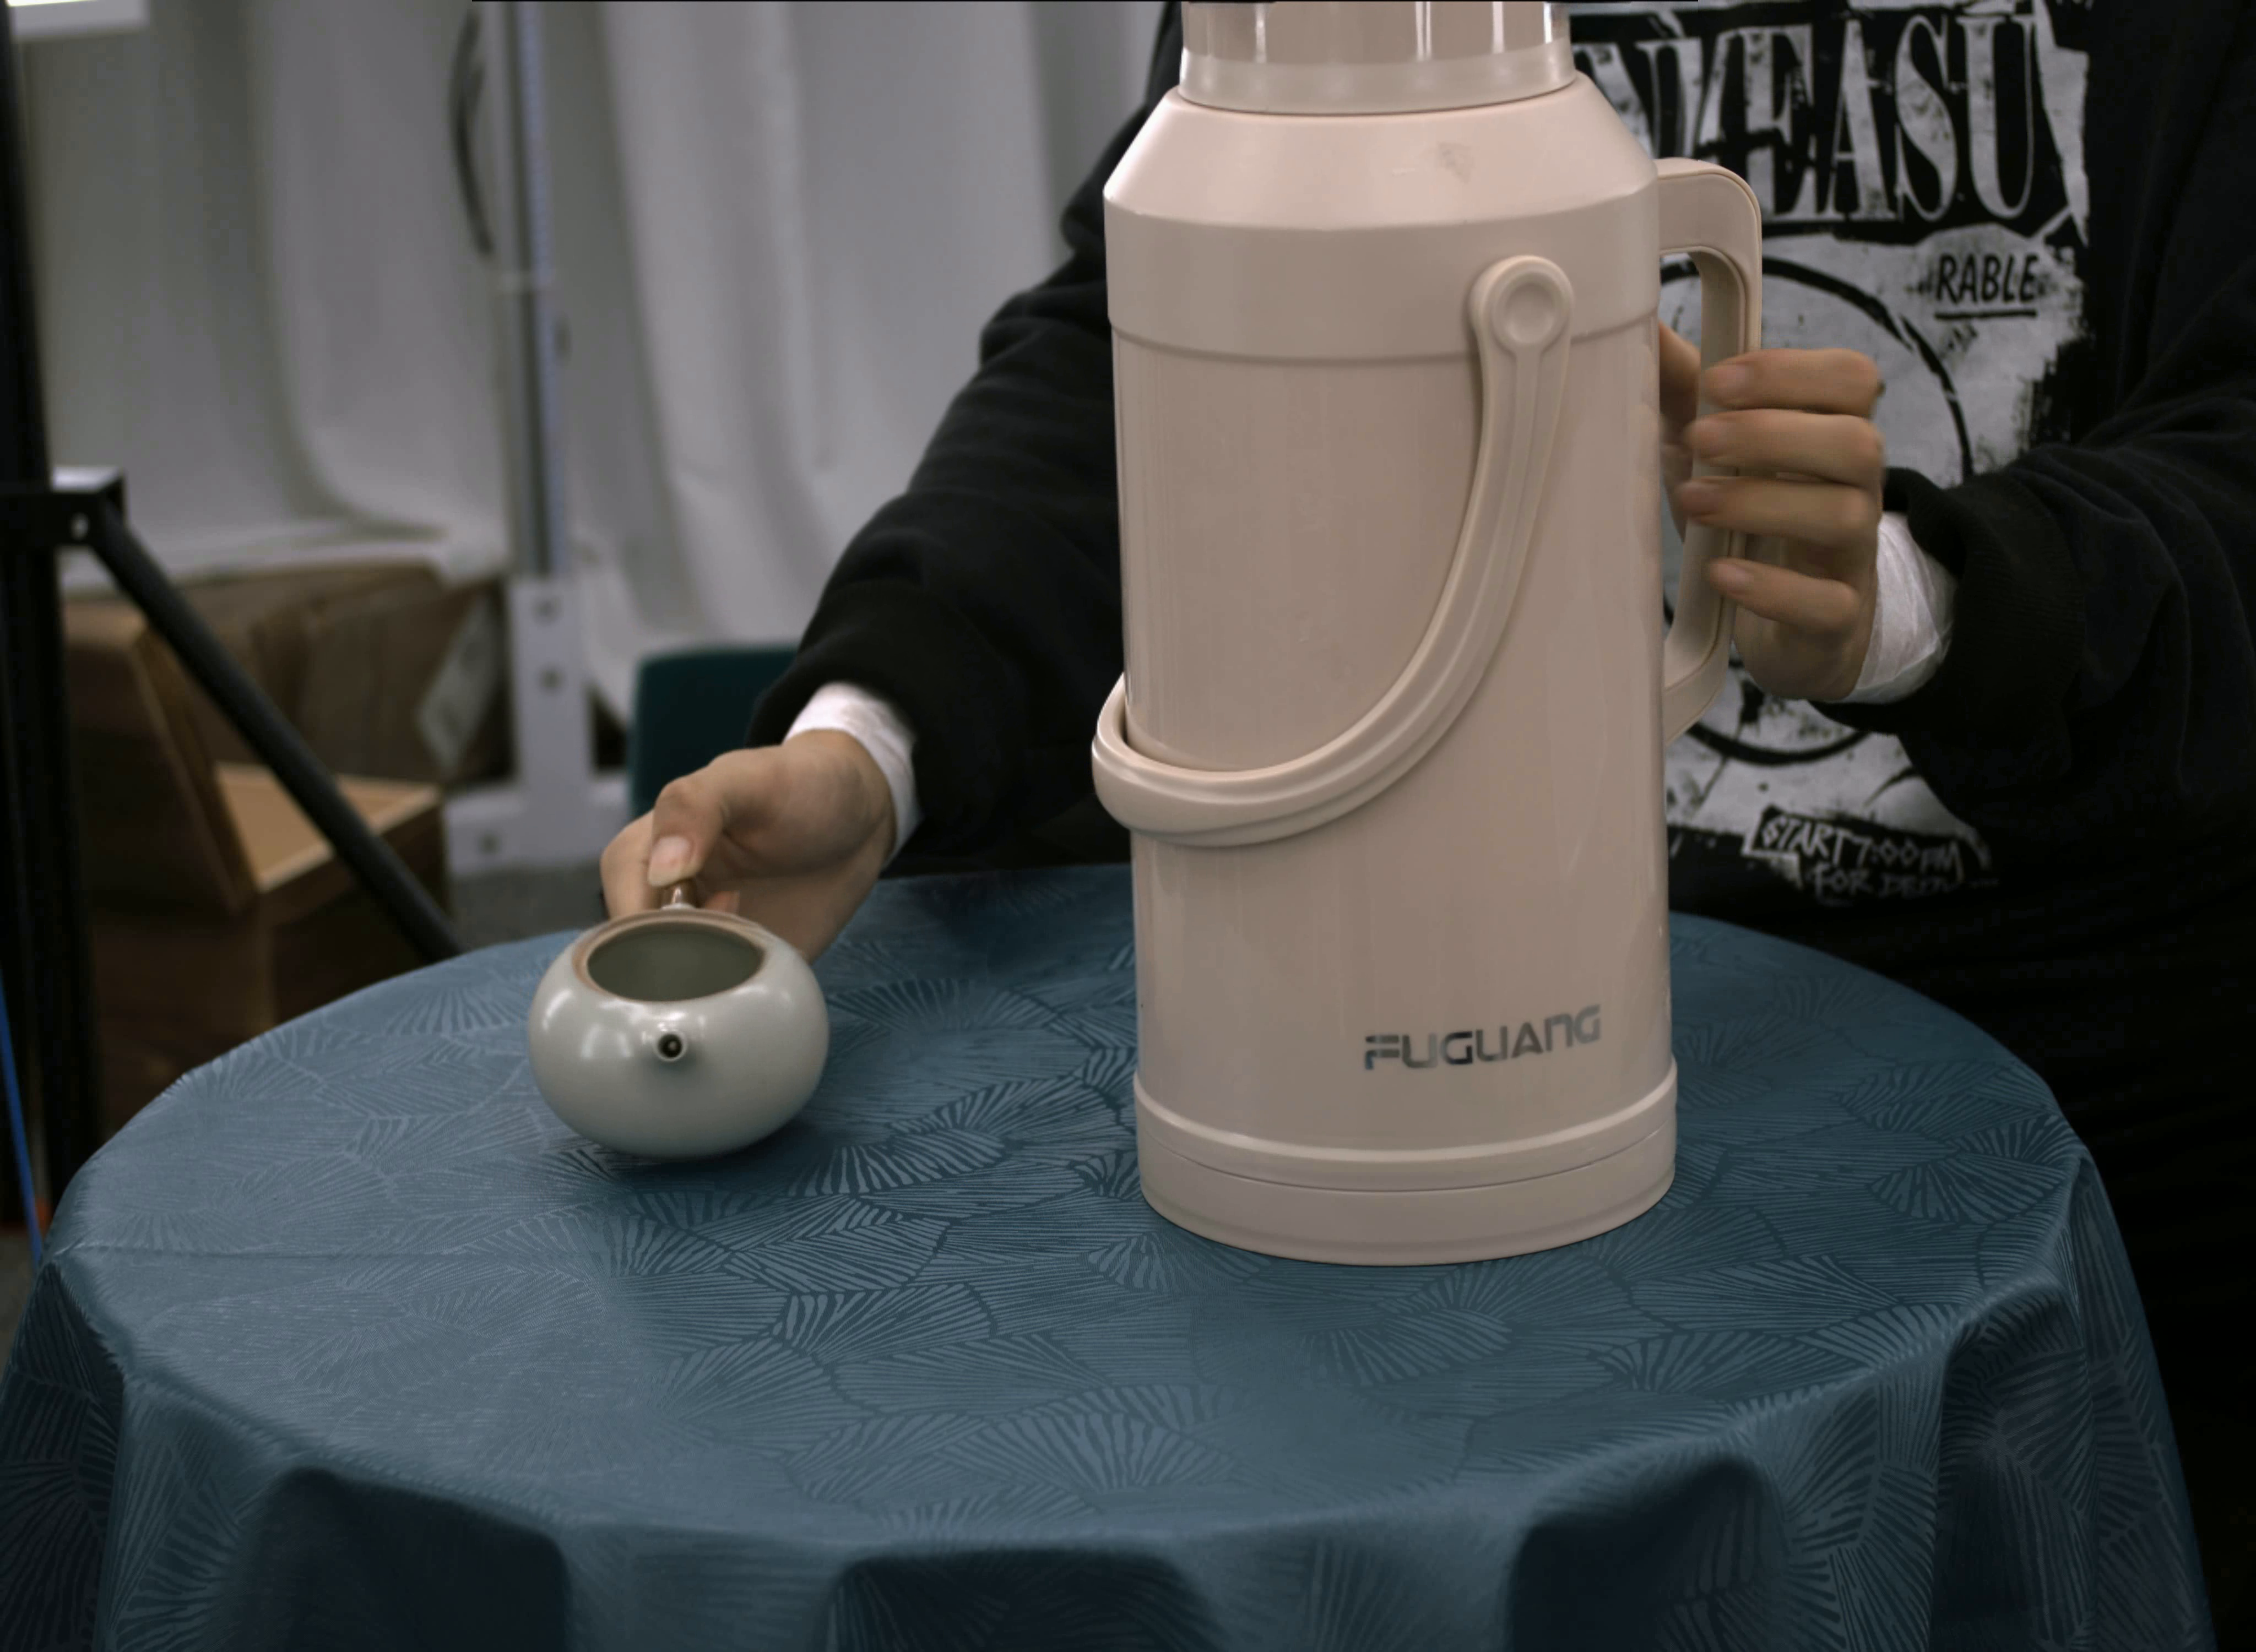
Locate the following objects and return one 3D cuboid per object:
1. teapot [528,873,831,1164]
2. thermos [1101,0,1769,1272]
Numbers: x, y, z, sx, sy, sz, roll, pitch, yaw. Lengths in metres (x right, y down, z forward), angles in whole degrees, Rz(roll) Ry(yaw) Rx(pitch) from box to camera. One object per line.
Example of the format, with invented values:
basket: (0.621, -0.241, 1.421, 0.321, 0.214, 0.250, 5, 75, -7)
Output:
teapot: (-0.136, 0.059, 1.621, 0.091, 0.059, 0.129, -6, 27, -2)
thermos: (0.090, -0.089, 1.512, 0.203, 0.406, 0.179, -9, 15, -23)
